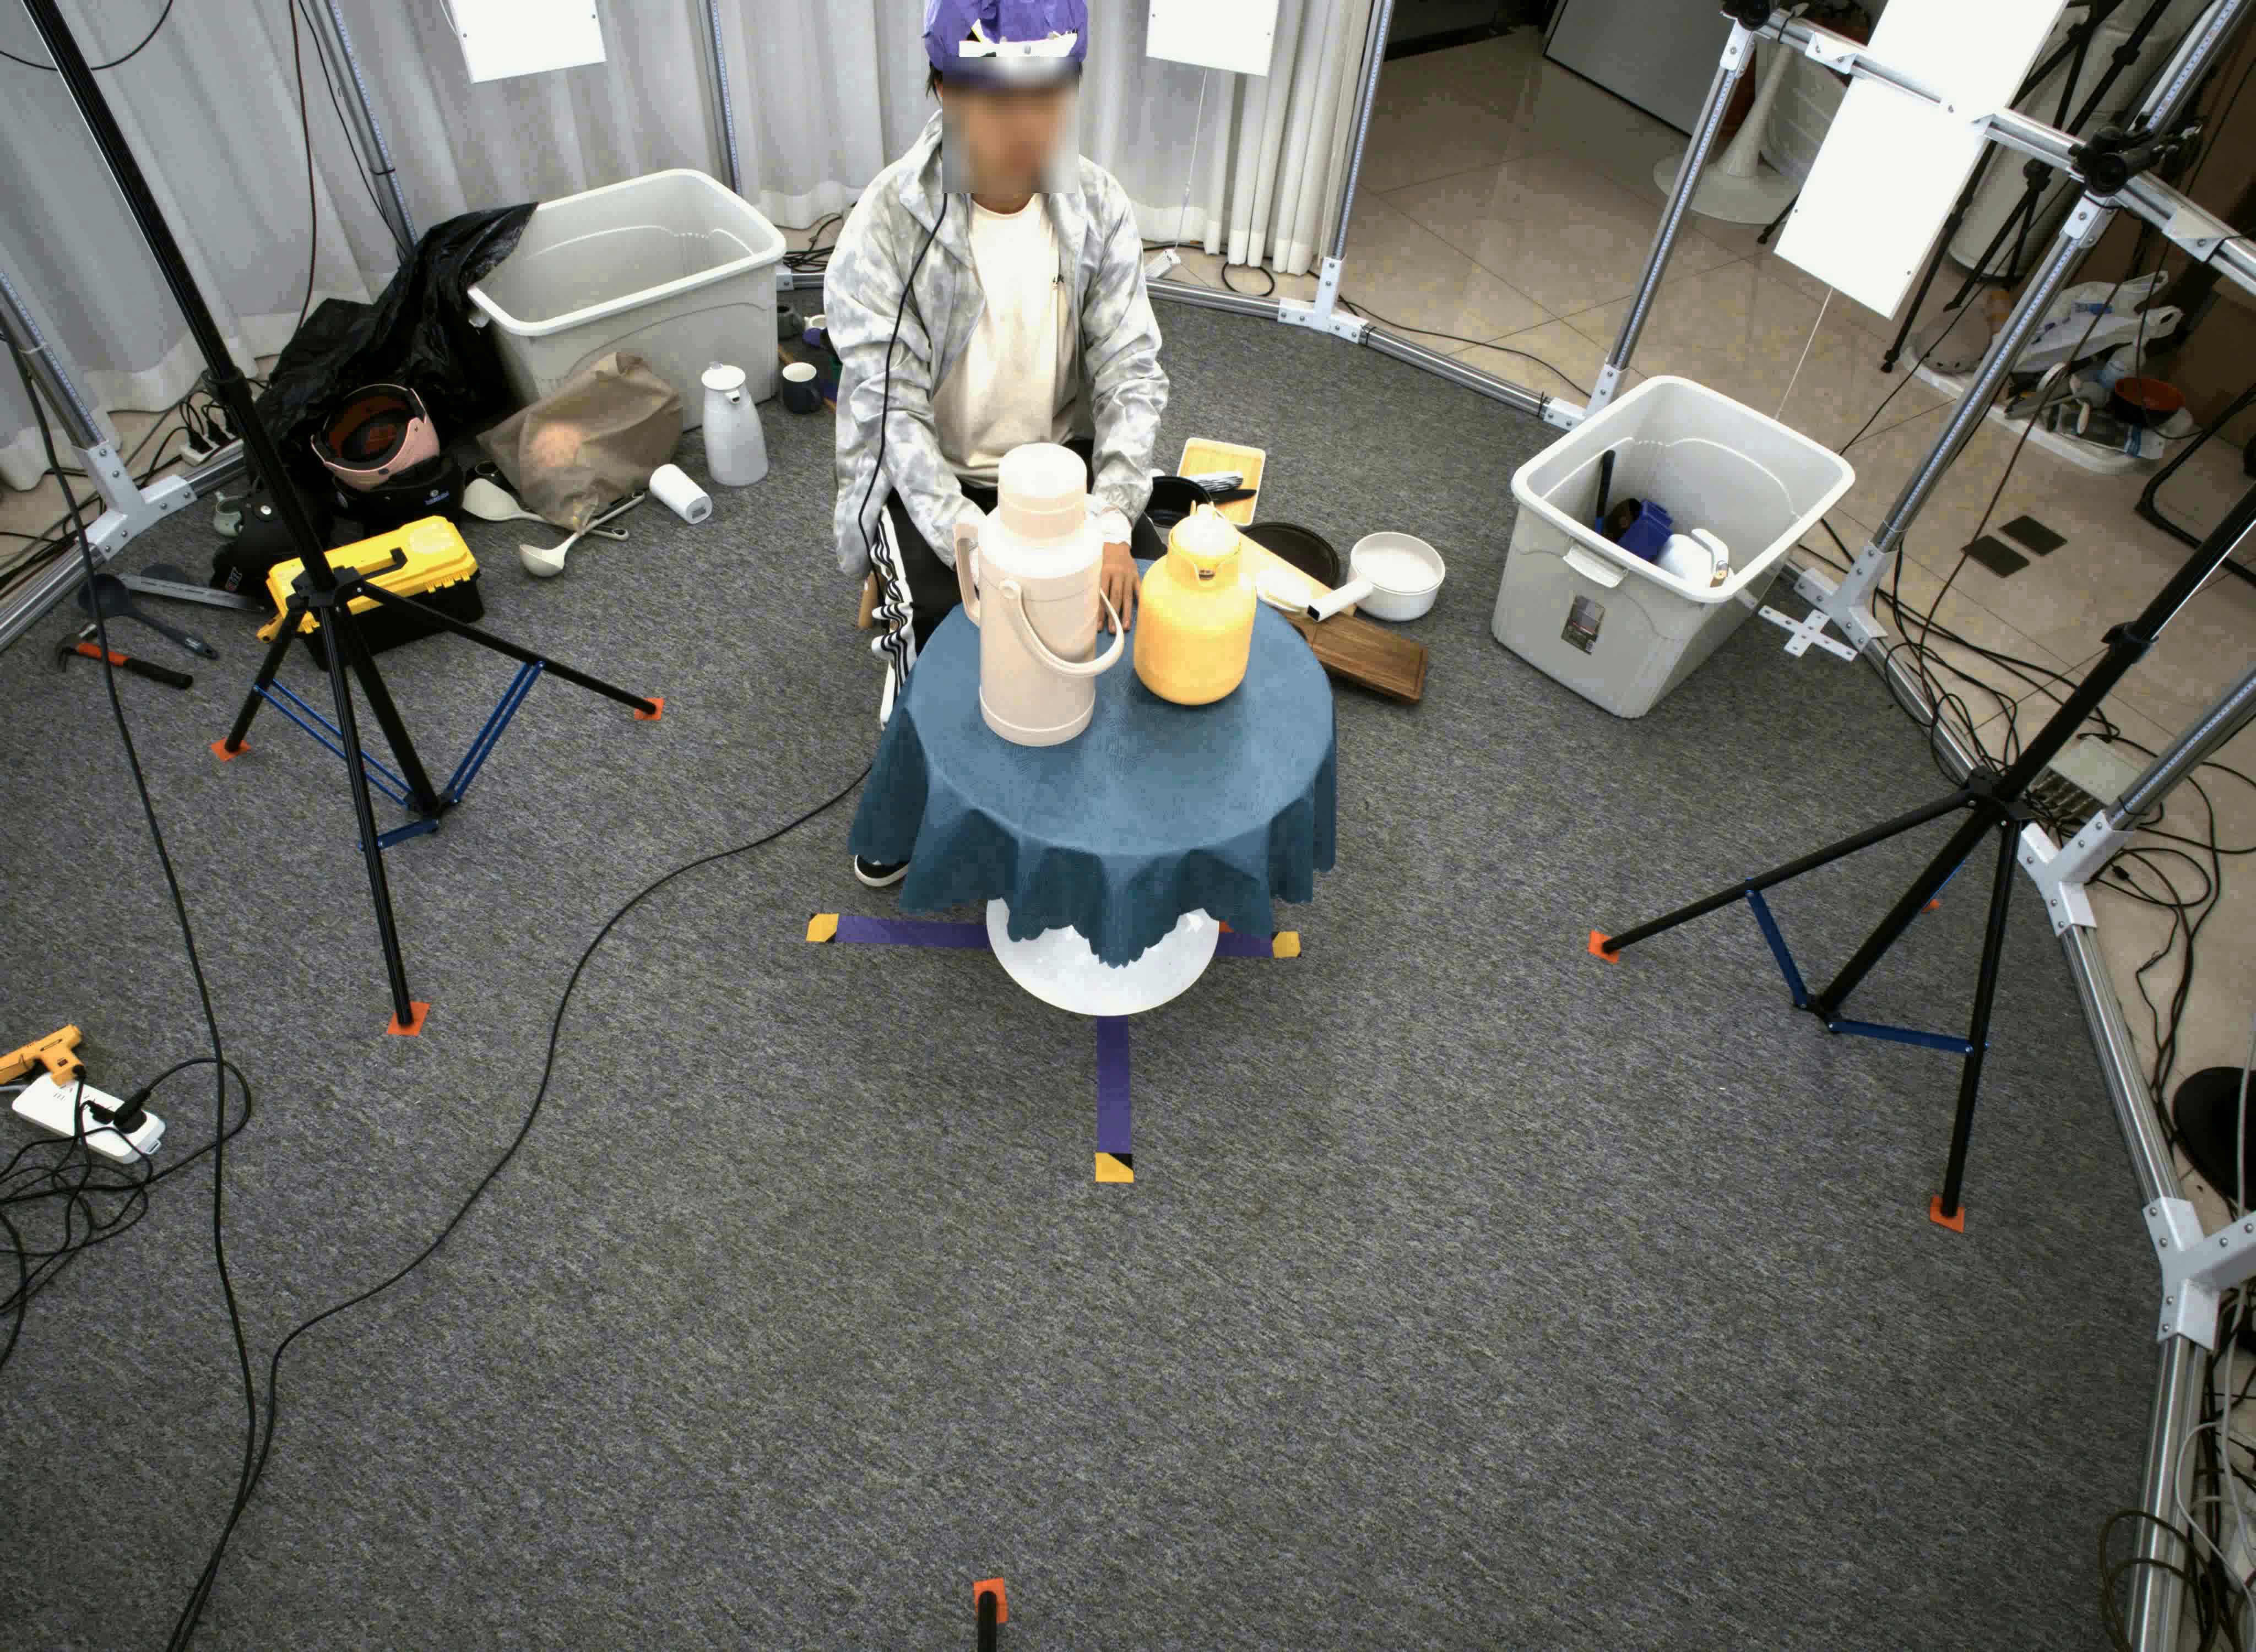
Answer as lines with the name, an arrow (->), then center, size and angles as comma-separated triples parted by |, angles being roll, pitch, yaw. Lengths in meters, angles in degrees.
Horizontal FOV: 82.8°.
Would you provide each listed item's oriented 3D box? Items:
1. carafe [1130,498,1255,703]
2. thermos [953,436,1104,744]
carafe -> 0.094, -0.318, 1.775 | 0.163, 0.254, 0.207 | 6, 50, -3
thermos -> -0.127, -0.303, 1.659 | 0.208, 0.396, 0.178 | 21, 52, 13
